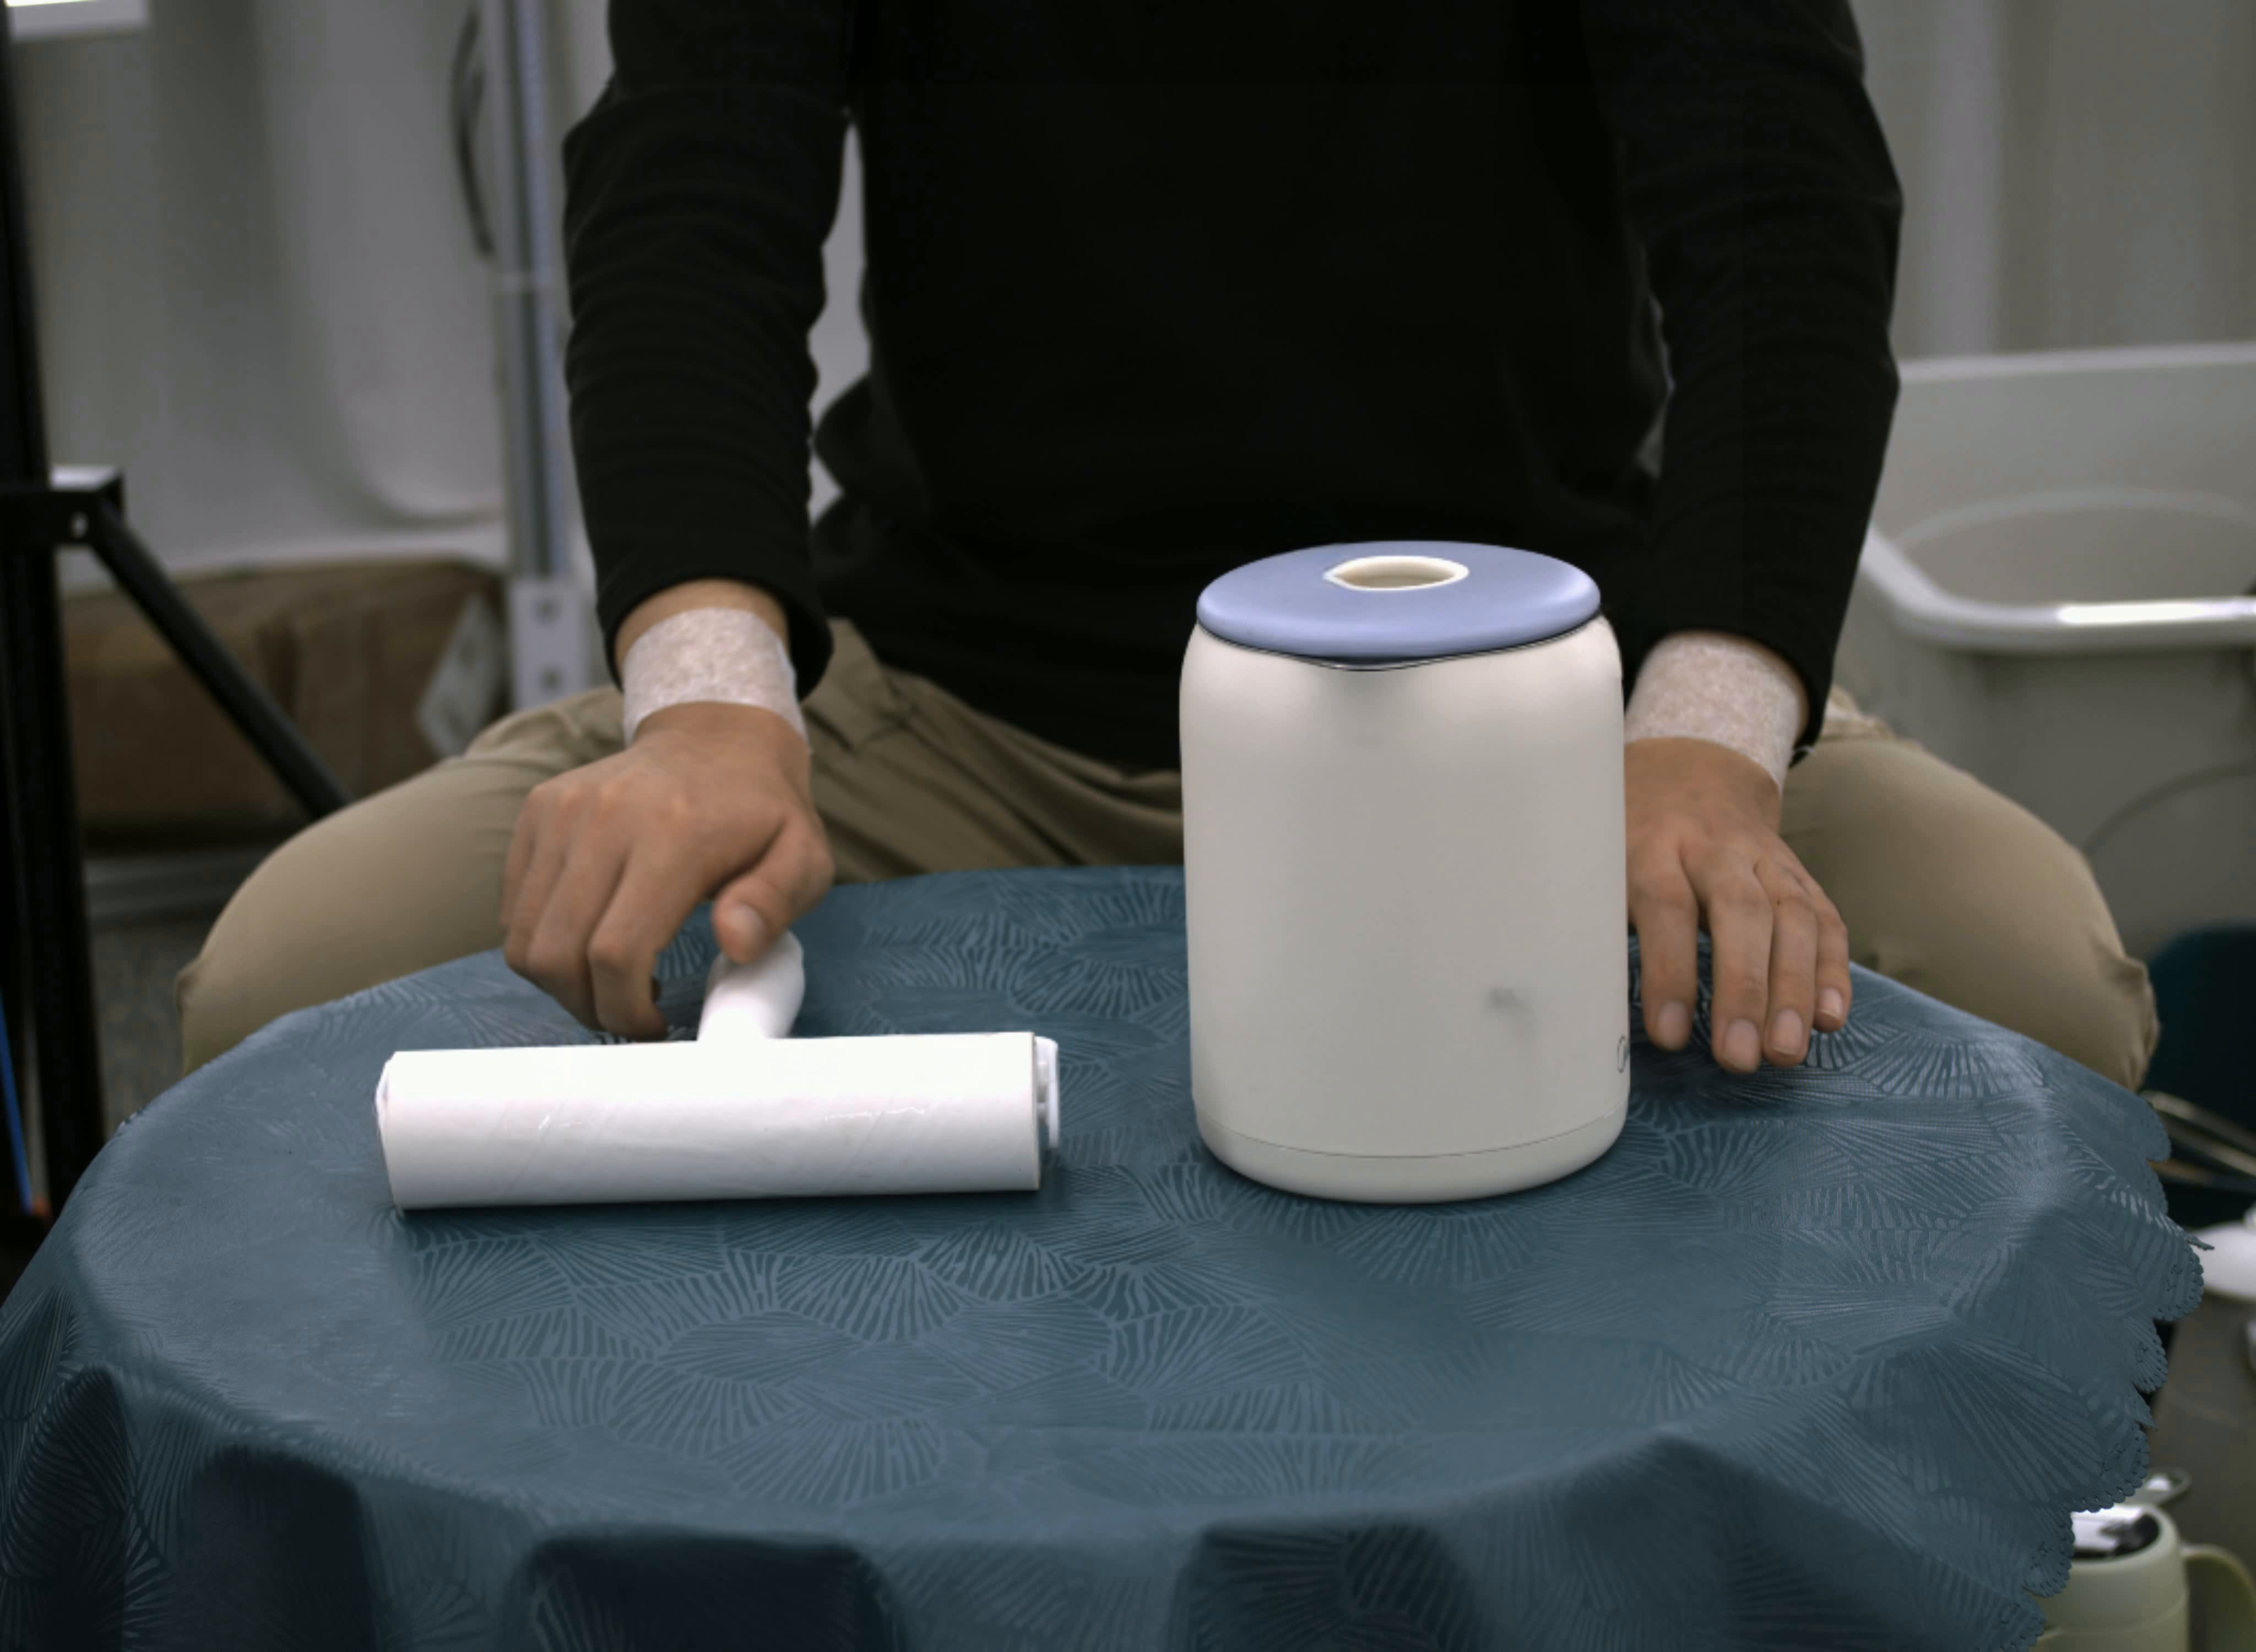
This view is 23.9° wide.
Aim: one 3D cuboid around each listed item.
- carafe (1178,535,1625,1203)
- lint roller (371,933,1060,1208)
[{"bbox_3d":[0.085,0.006,1.591,0.133,0.182,0.190,1,13,10],"label":"carafe"},{"bbox_3d":[-0.122,0.063,1.656,0.202,0.048,0.226,-3,15,2],"label":"lint roller"}]
